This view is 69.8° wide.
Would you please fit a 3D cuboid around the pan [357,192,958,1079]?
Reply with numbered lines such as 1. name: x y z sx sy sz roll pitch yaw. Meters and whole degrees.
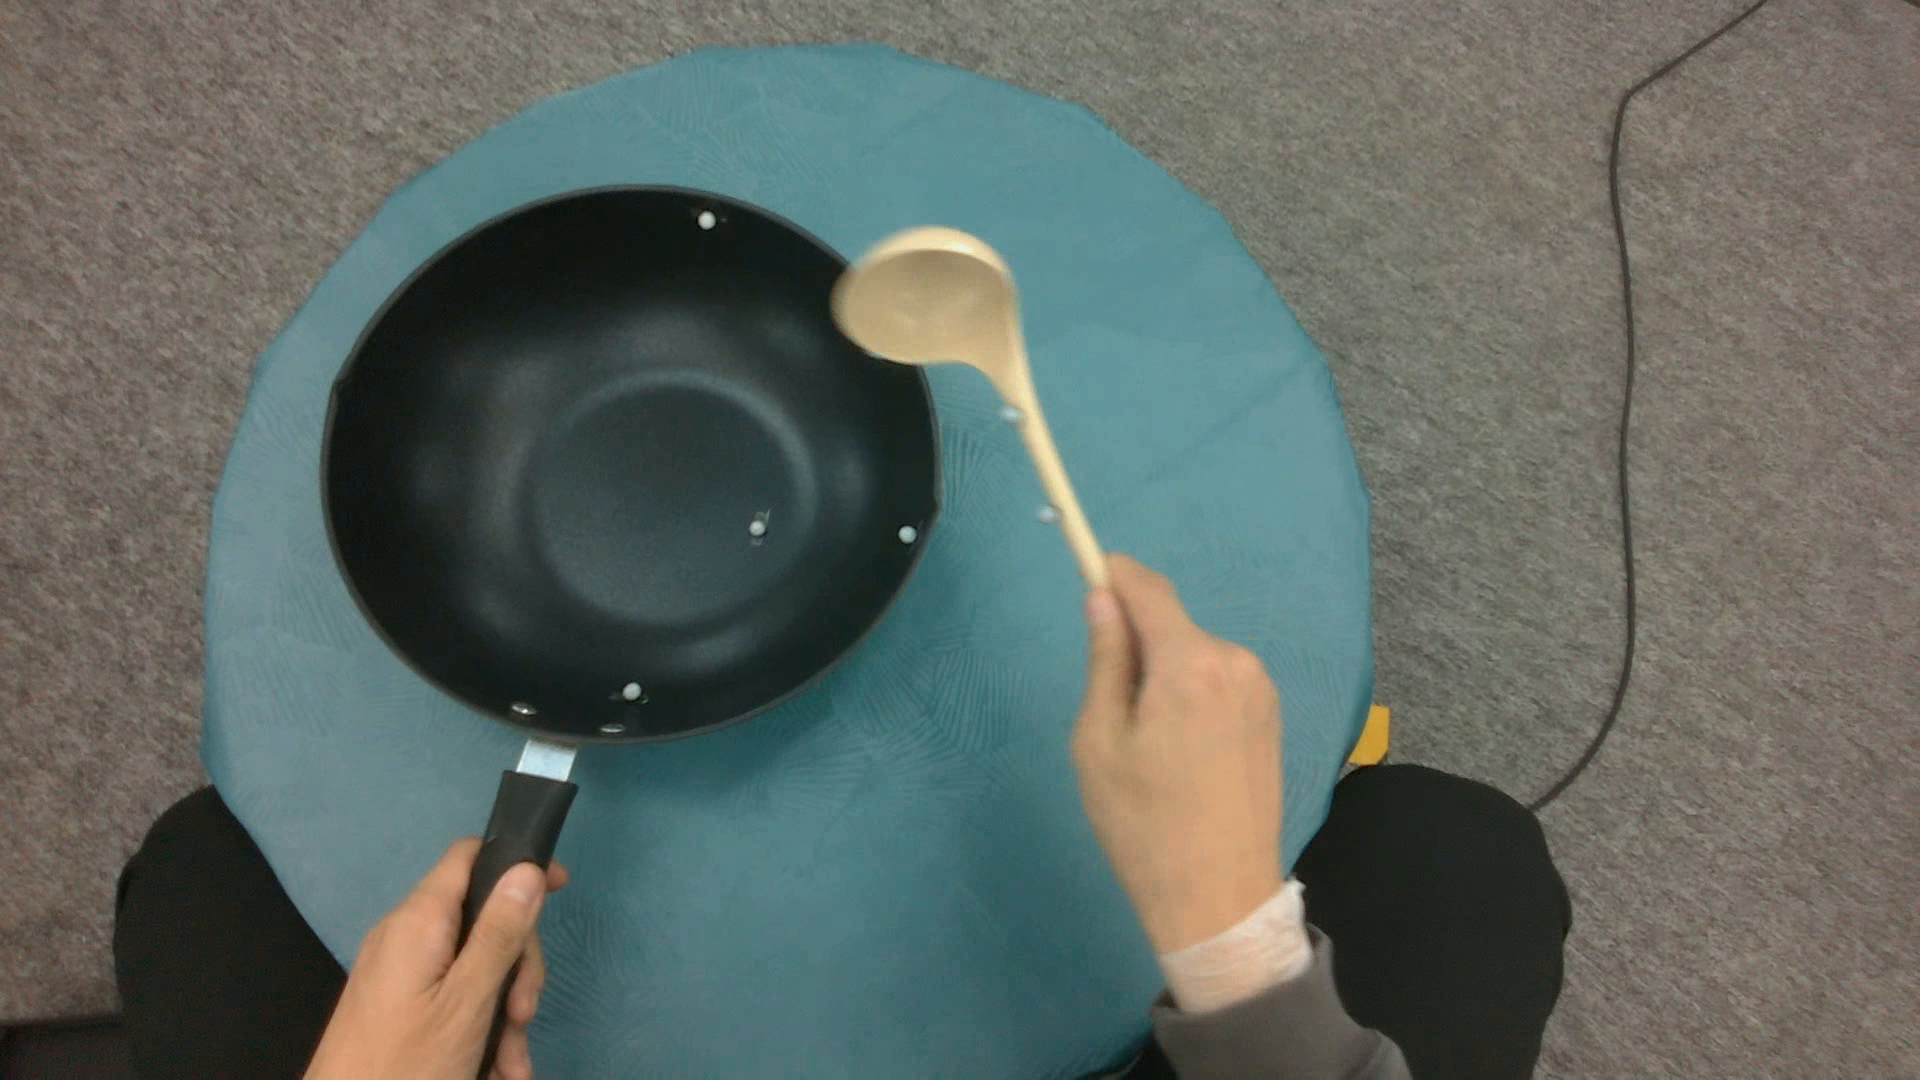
1. pan: -0.165 0.055 0.665 0.288 0.086 0.464 13 73 1

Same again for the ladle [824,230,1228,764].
1. ladle: 0.024 -0.014 0.562 0.073 0.072 0.255 -11 67 -46
